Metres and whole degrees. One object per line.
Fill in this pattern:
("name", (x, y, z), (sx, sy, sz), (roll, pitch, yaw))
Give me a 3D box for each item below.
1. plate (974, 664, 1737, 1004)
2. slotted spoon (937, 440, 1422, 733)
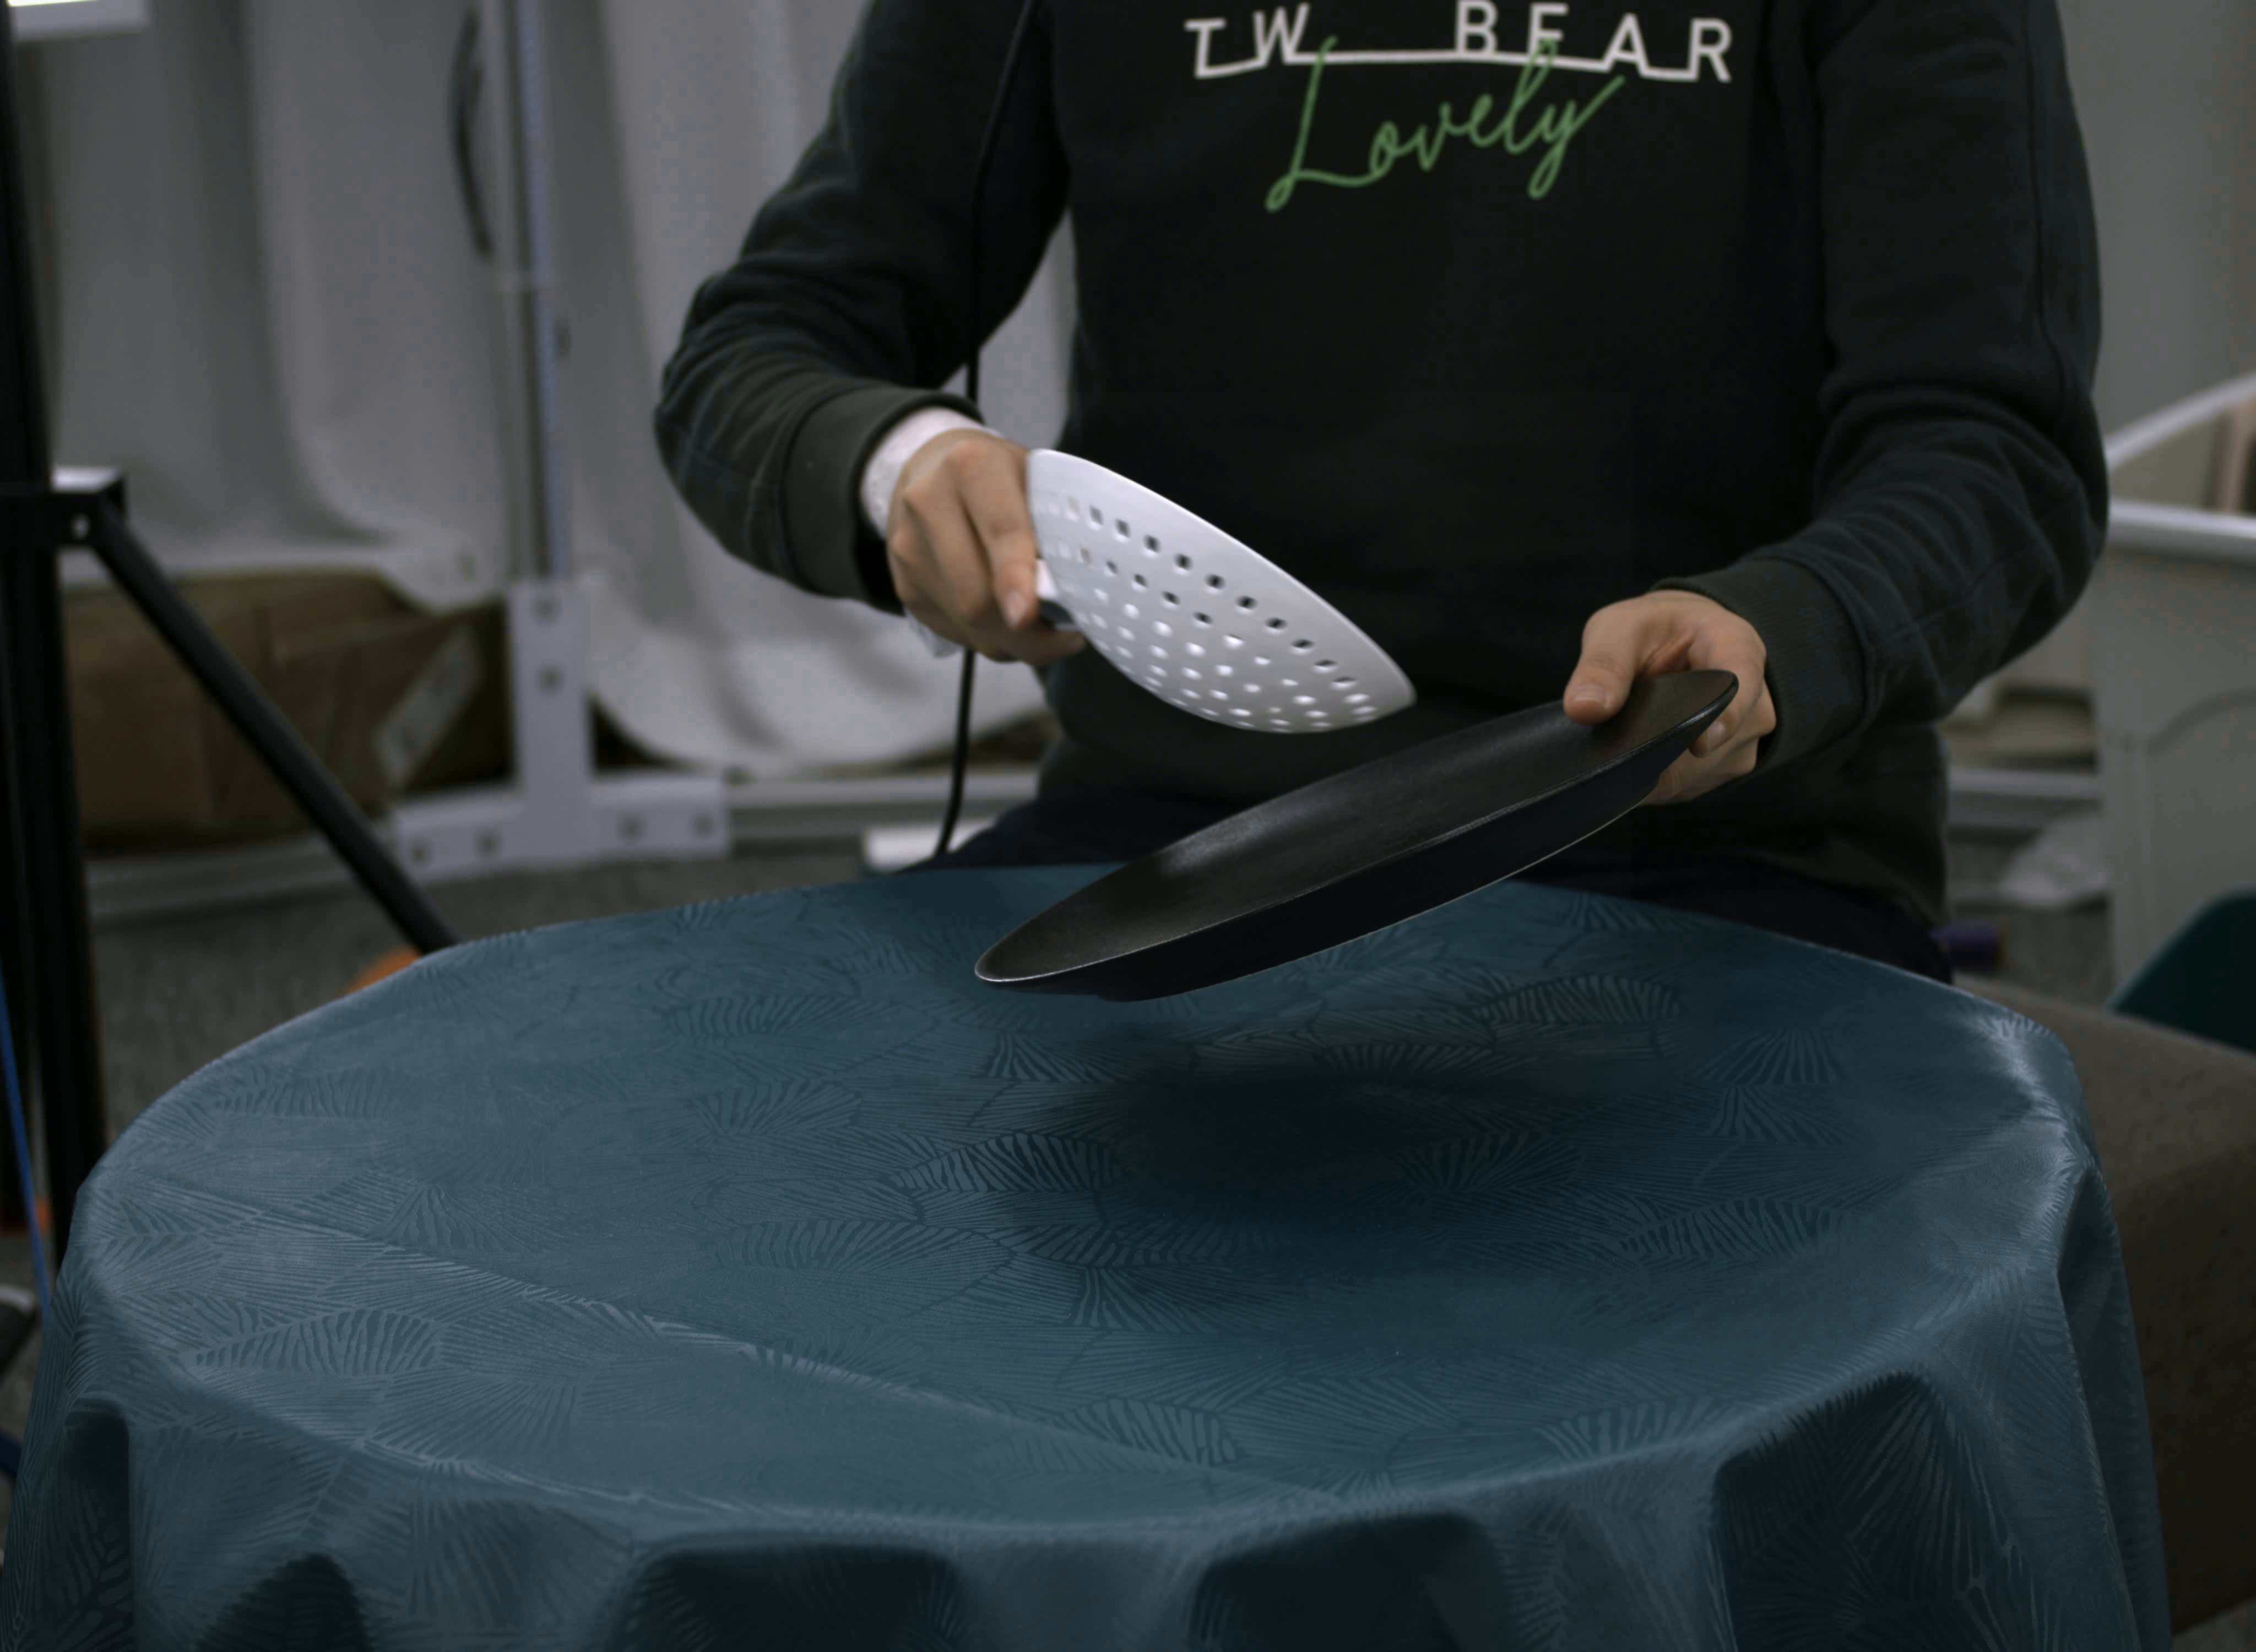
("plate", (0.070, 0.008, 1.582), (0.243, 0.023, 0.245), (-22, 6, 1))
("slotted spoon", (-0.005, -0.073, 1.701), (0.134, 0.046, 0.354), (36, -4, -15))
